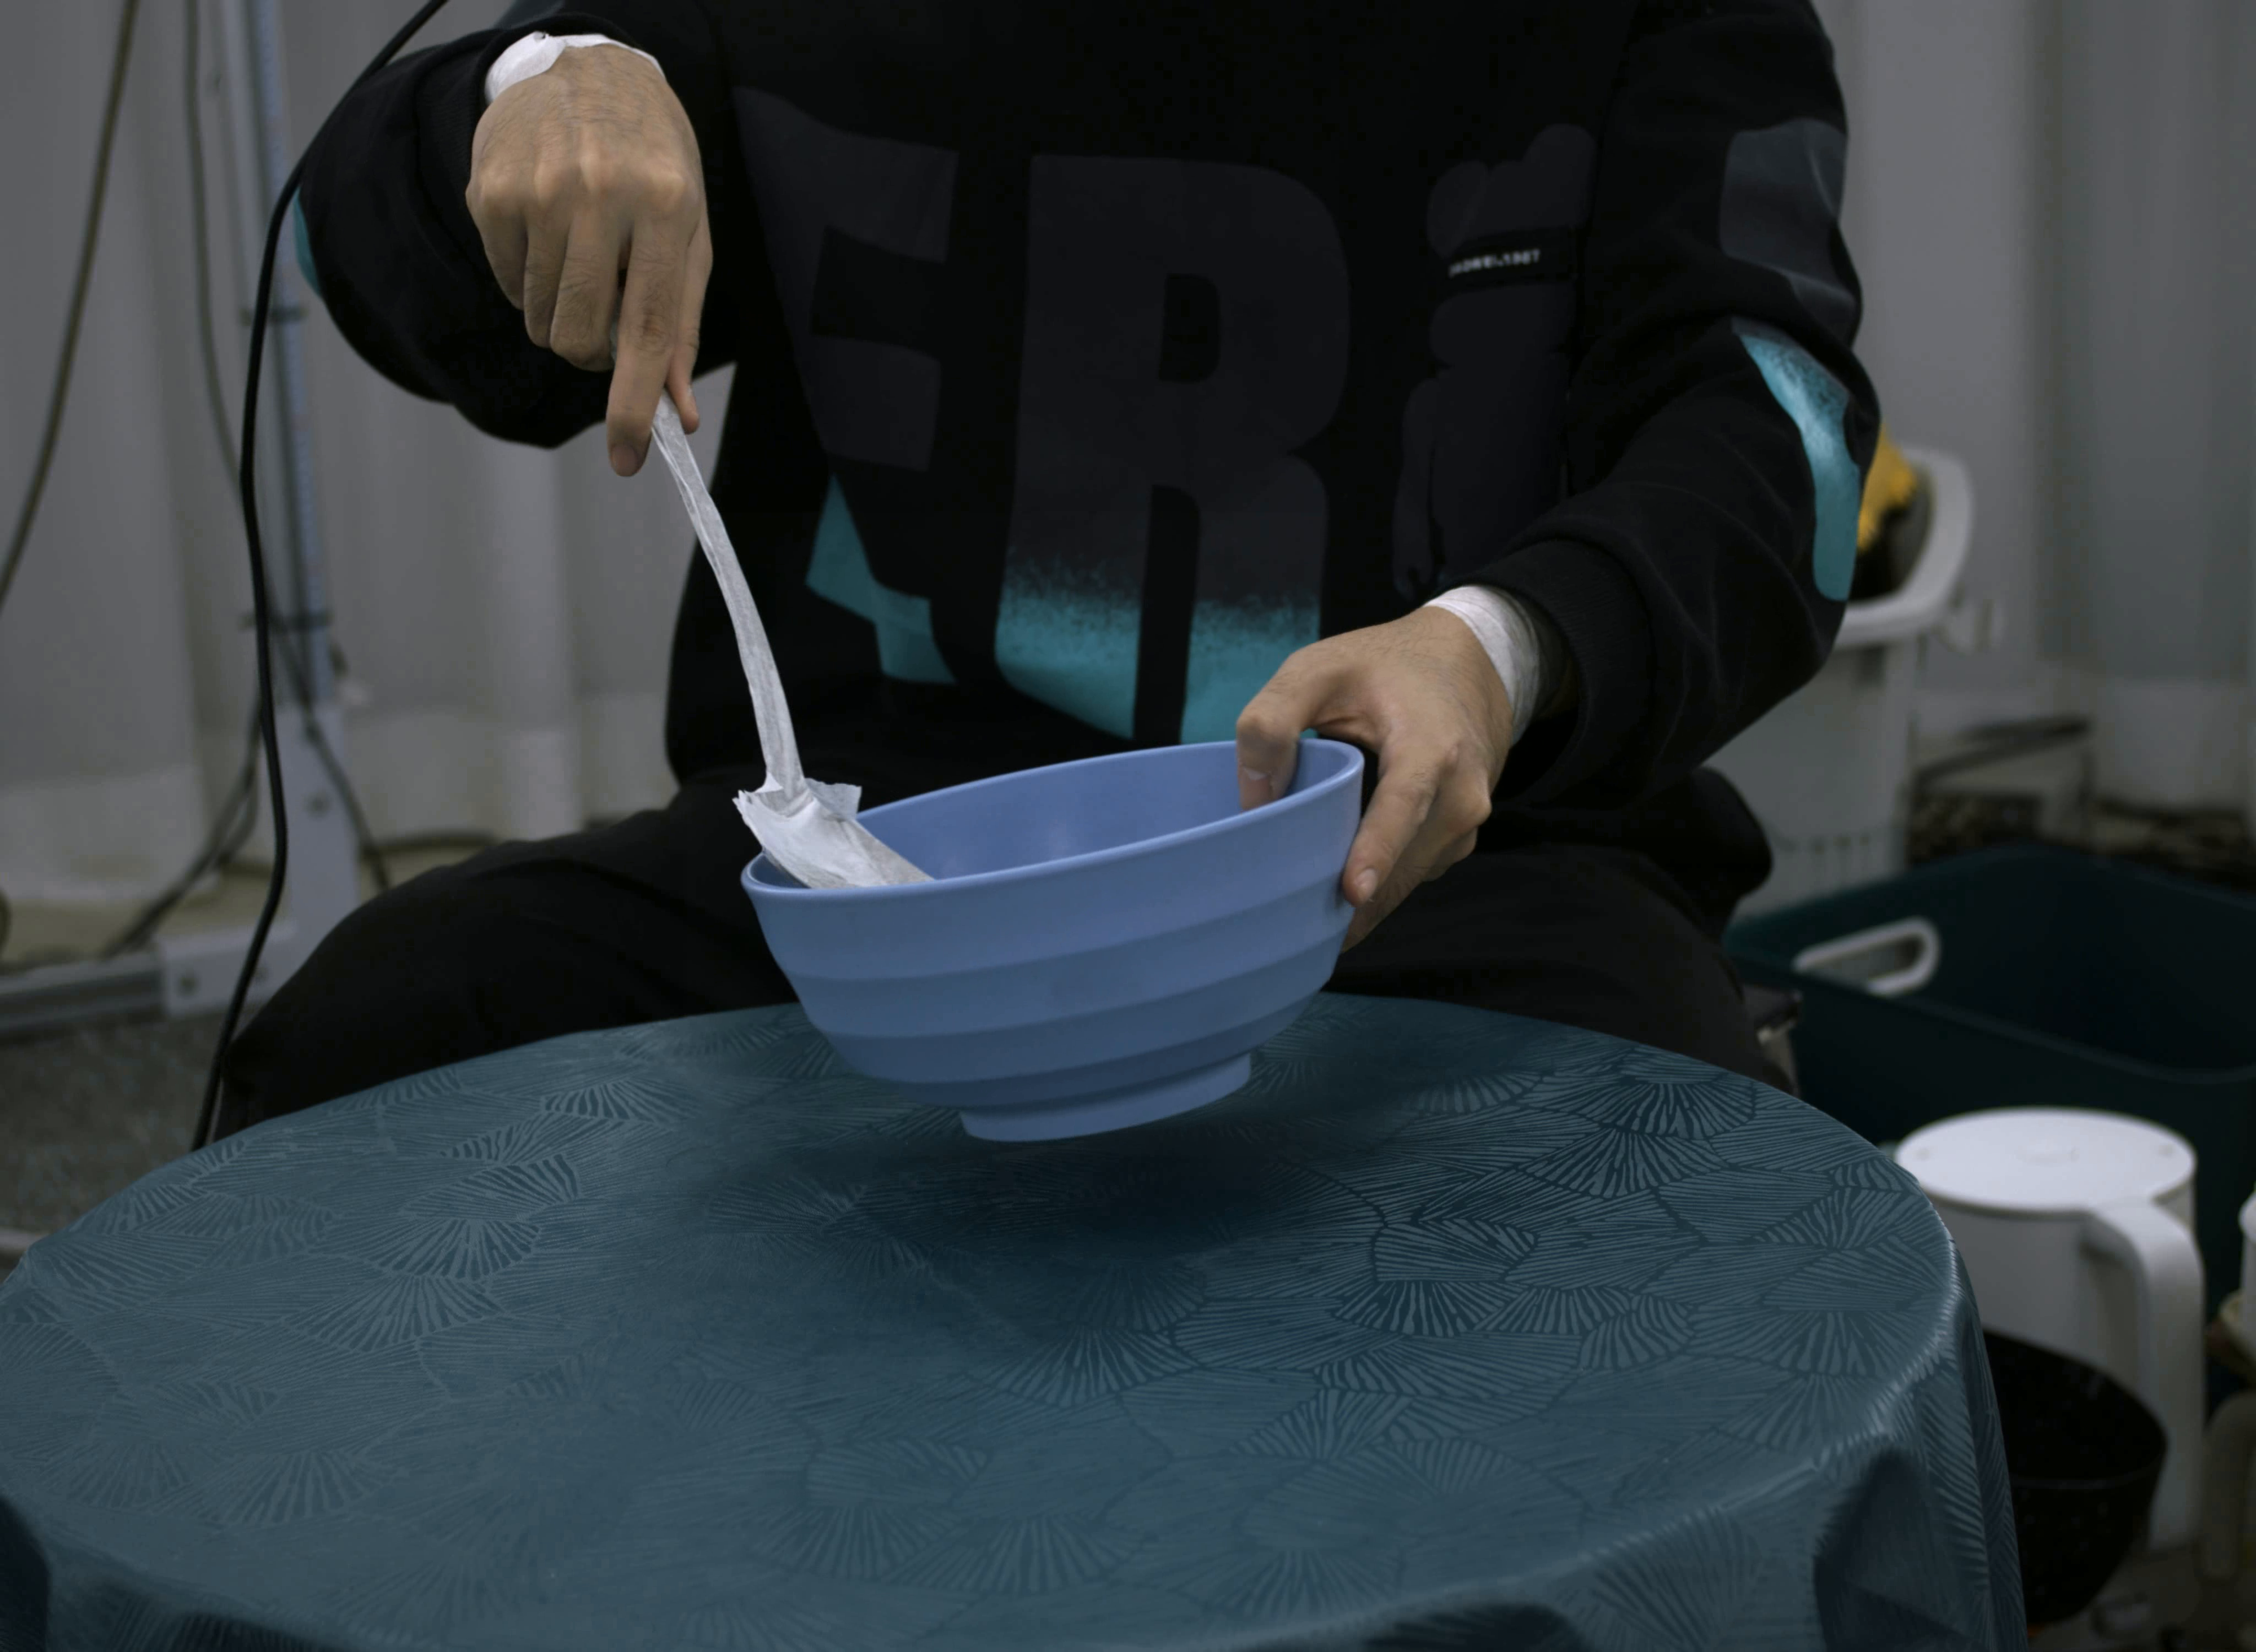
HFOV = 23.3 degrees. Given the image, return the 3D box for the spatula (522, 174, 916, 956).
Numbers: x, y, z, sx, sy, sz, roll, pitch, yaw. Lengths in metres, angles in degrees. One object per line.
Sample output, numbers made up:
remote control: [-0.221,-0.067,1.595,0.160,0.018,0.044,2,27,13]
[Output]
spatula: [-0.125,-0.087,1.752,0.044,0.370,0.098,-39,-32,25]

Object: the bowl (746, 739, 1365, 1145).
bowl: [-0.013,0.041,1.699,0.196,0.095,0.197,-12,8,1]
